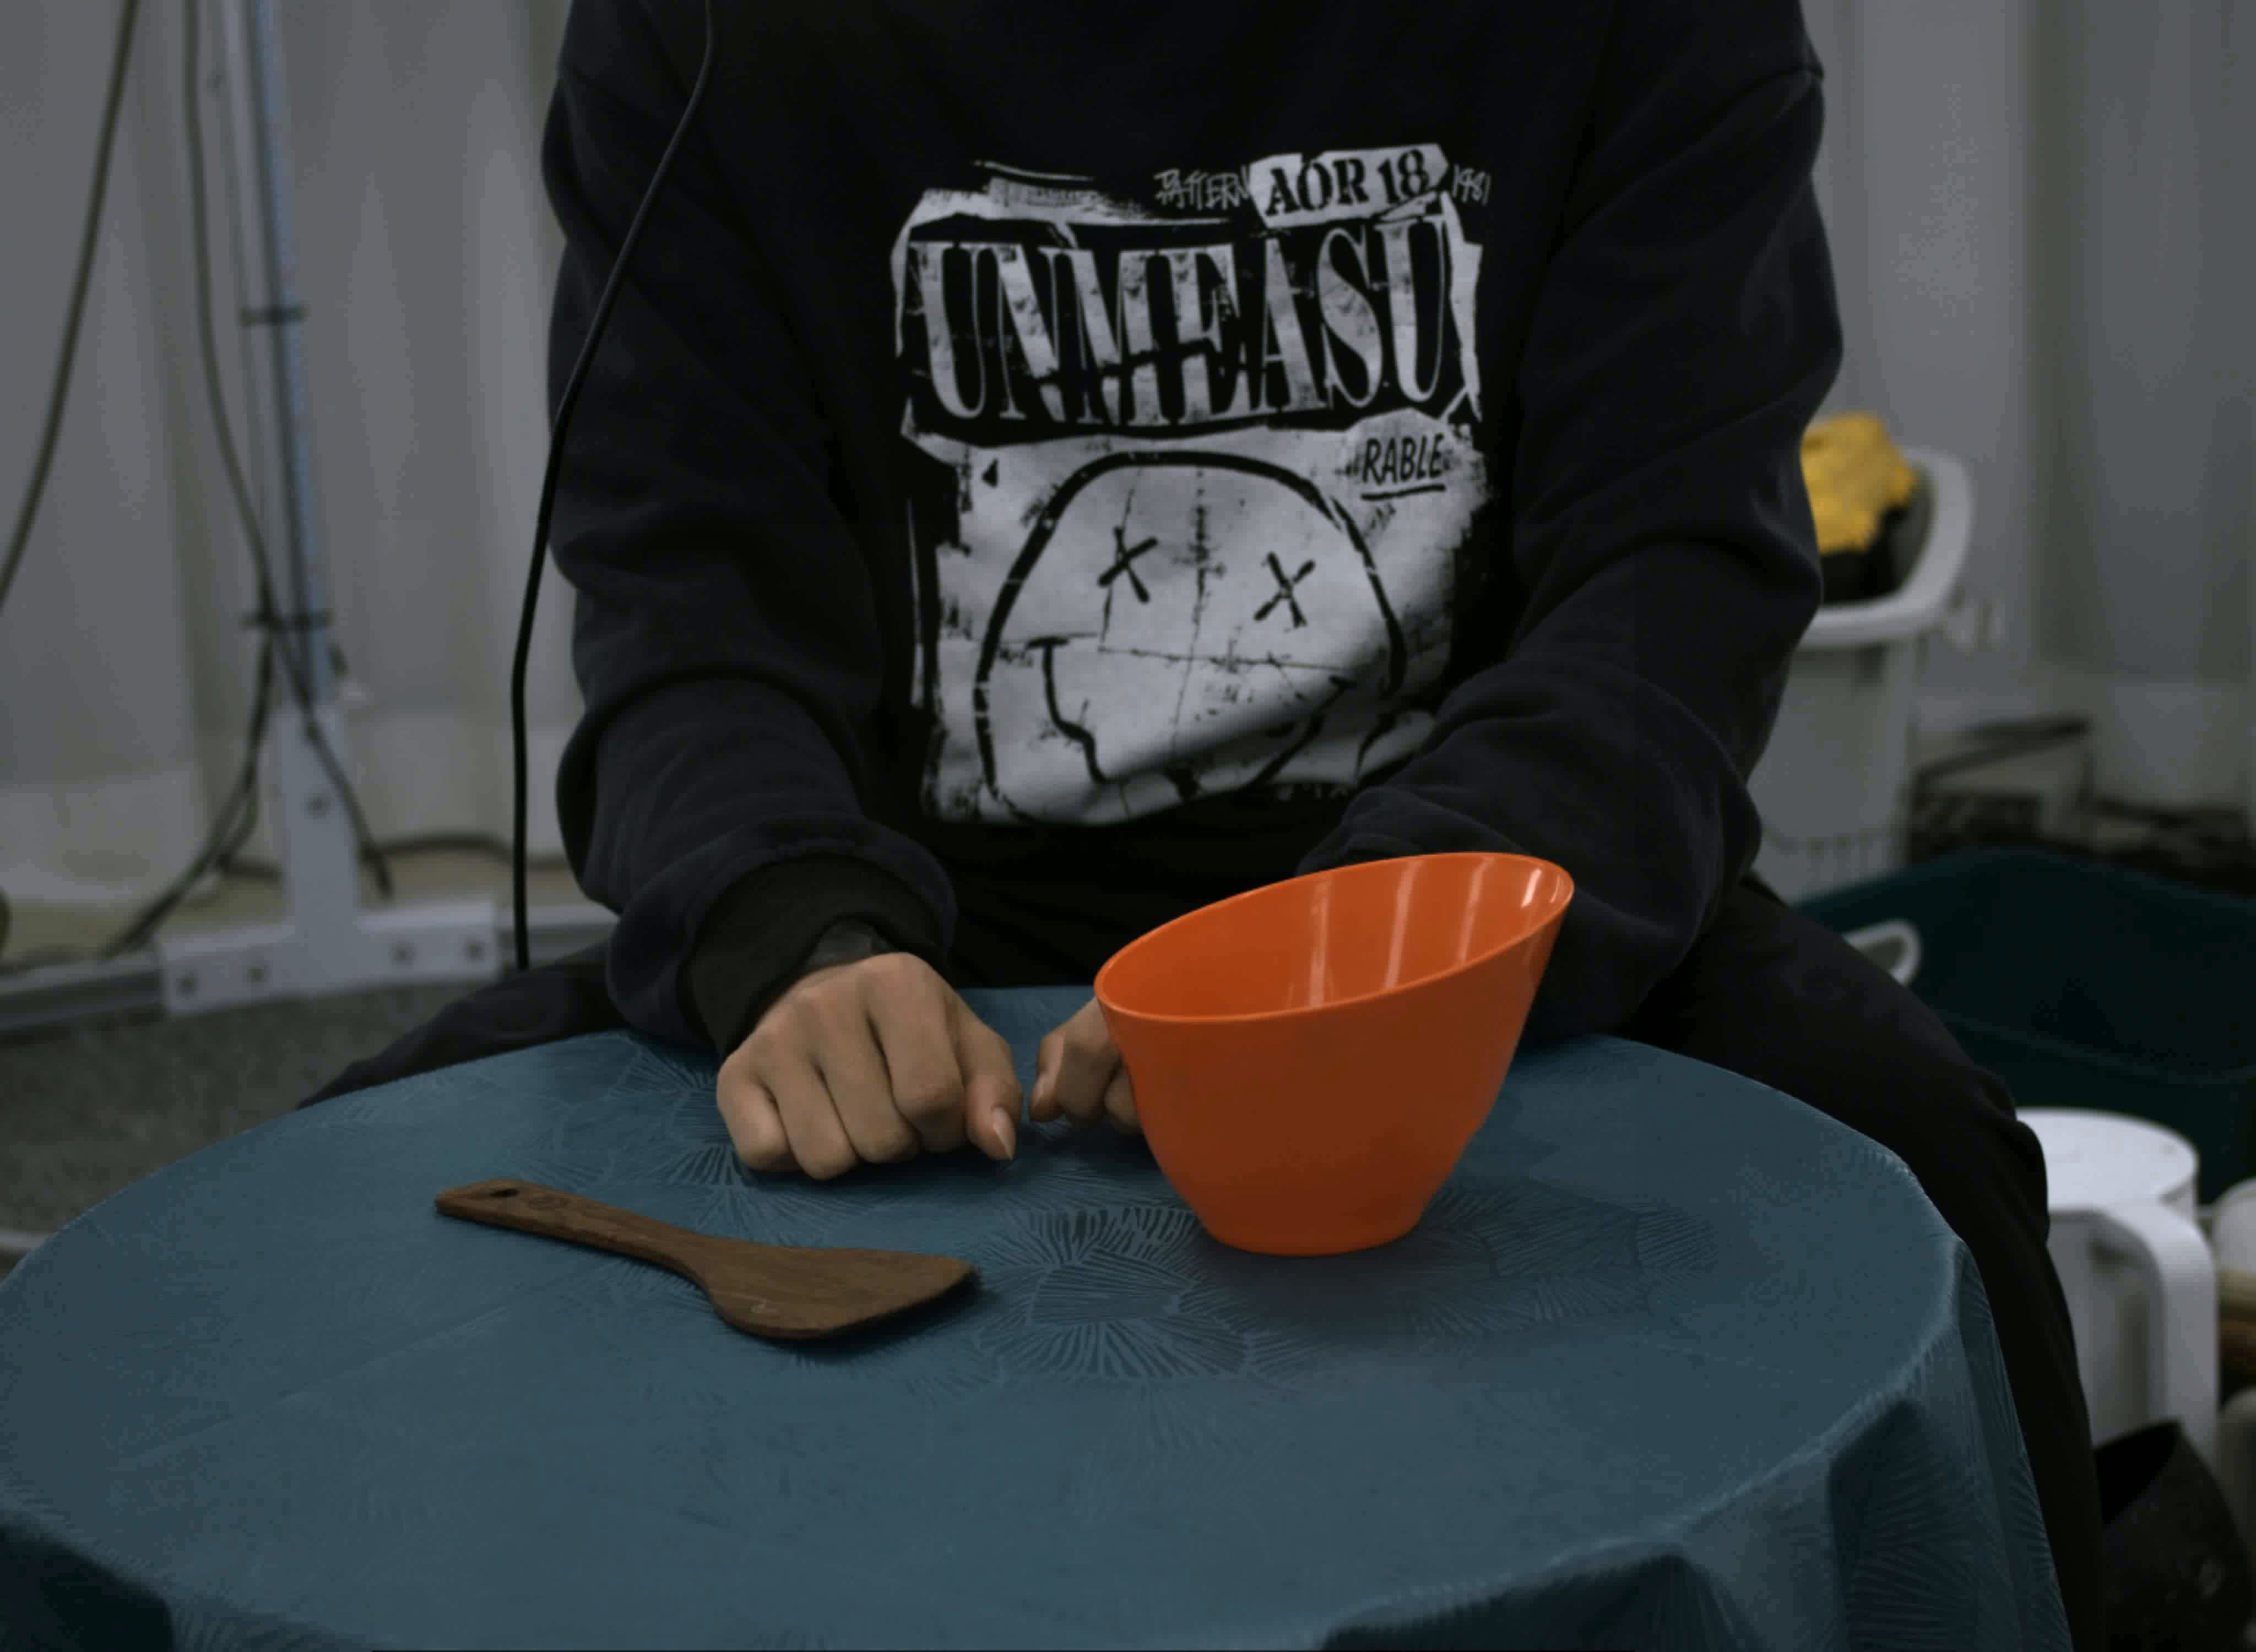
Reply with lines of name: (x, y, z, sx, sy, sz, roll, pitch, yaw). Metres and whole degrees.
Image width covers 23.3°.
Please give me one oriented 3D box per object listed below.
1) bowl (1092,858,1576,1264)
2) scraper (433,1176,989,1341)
bowl: (0.064, 0.073, 1.664, 0.147, 0.104, 0.149, -3, 15, 0)
scraper: (-0.136, 0.129, 1.670, 0.212, 0.011, 0.075, 10, 19, 42)
